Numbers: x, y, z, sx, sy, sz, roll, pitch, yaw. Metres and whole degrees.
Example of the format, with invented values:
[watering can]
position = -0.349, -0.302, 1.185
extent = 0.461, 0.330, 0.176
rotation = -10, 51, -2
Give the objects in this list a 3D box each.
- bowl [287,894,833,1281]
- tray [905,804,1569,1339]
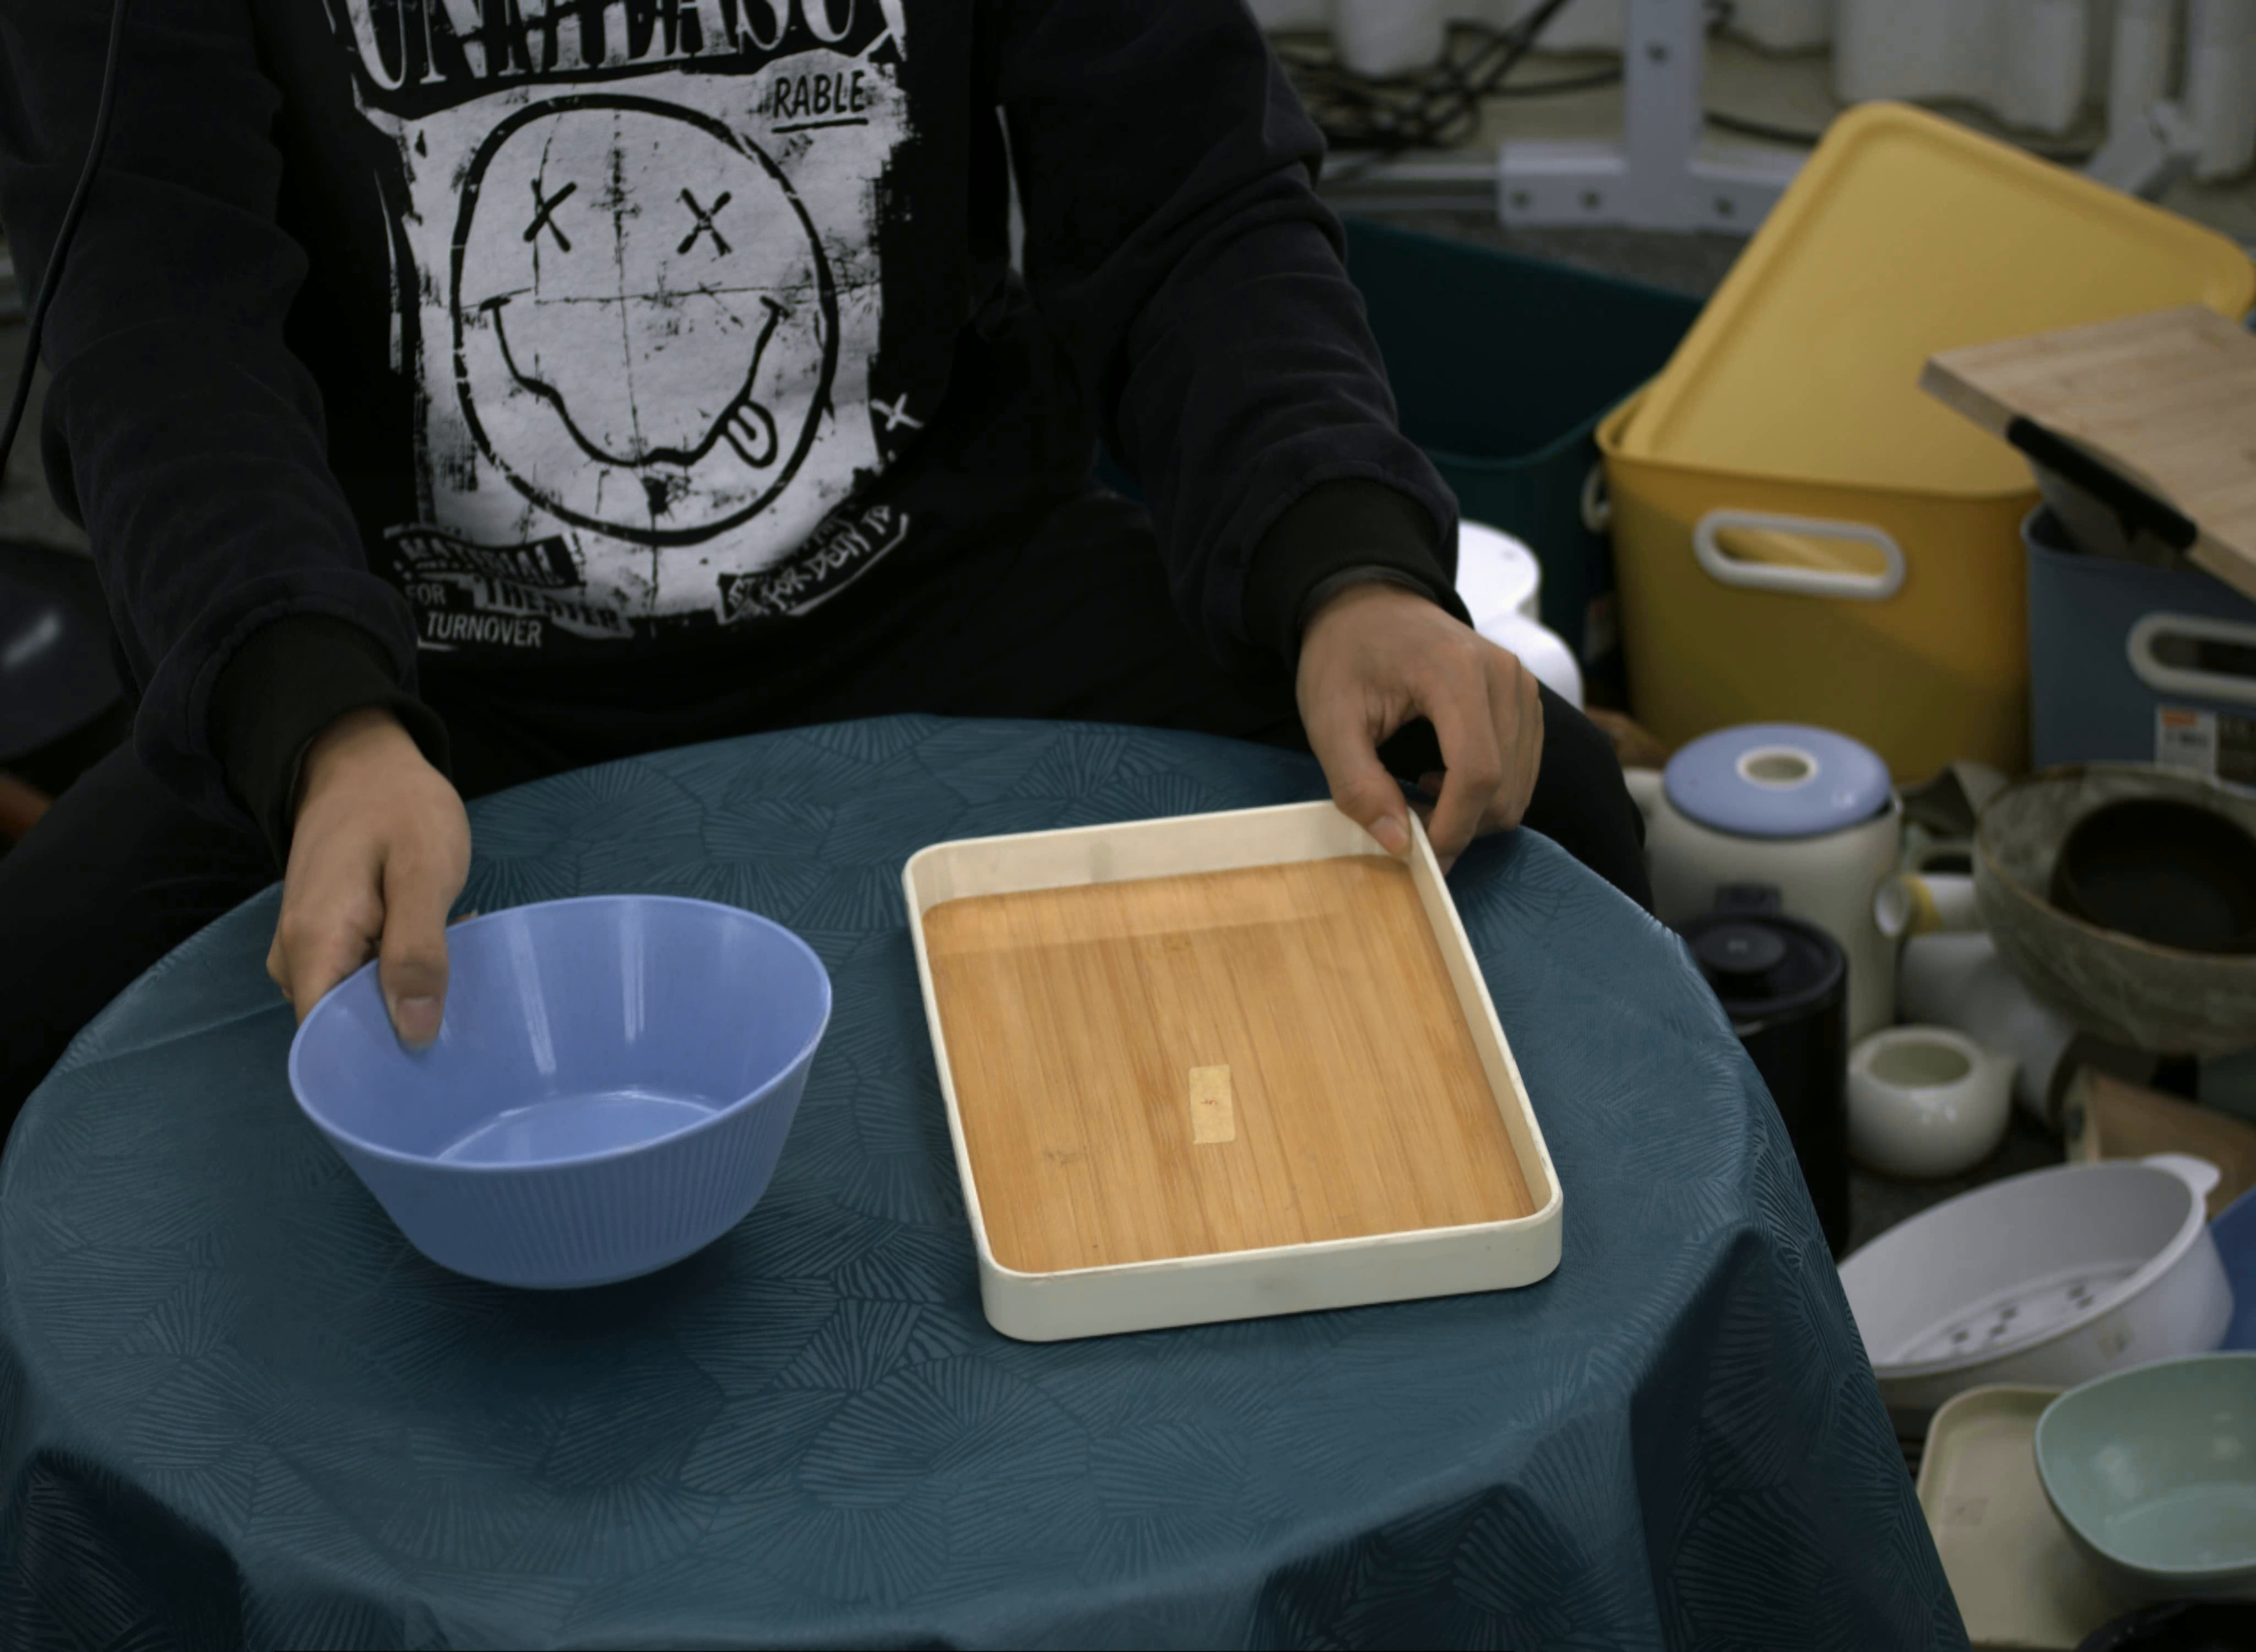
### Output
[bowl]
position = -0.179, 0.090, 1.810
extent = 0.175, 0.069, 0.179
rotation = -4, 26, 2
[tray]
position = 0.031, 0.078, 1.914
extent = 0.191, 0.027, 0.304
rotation = -5, 27, -6
